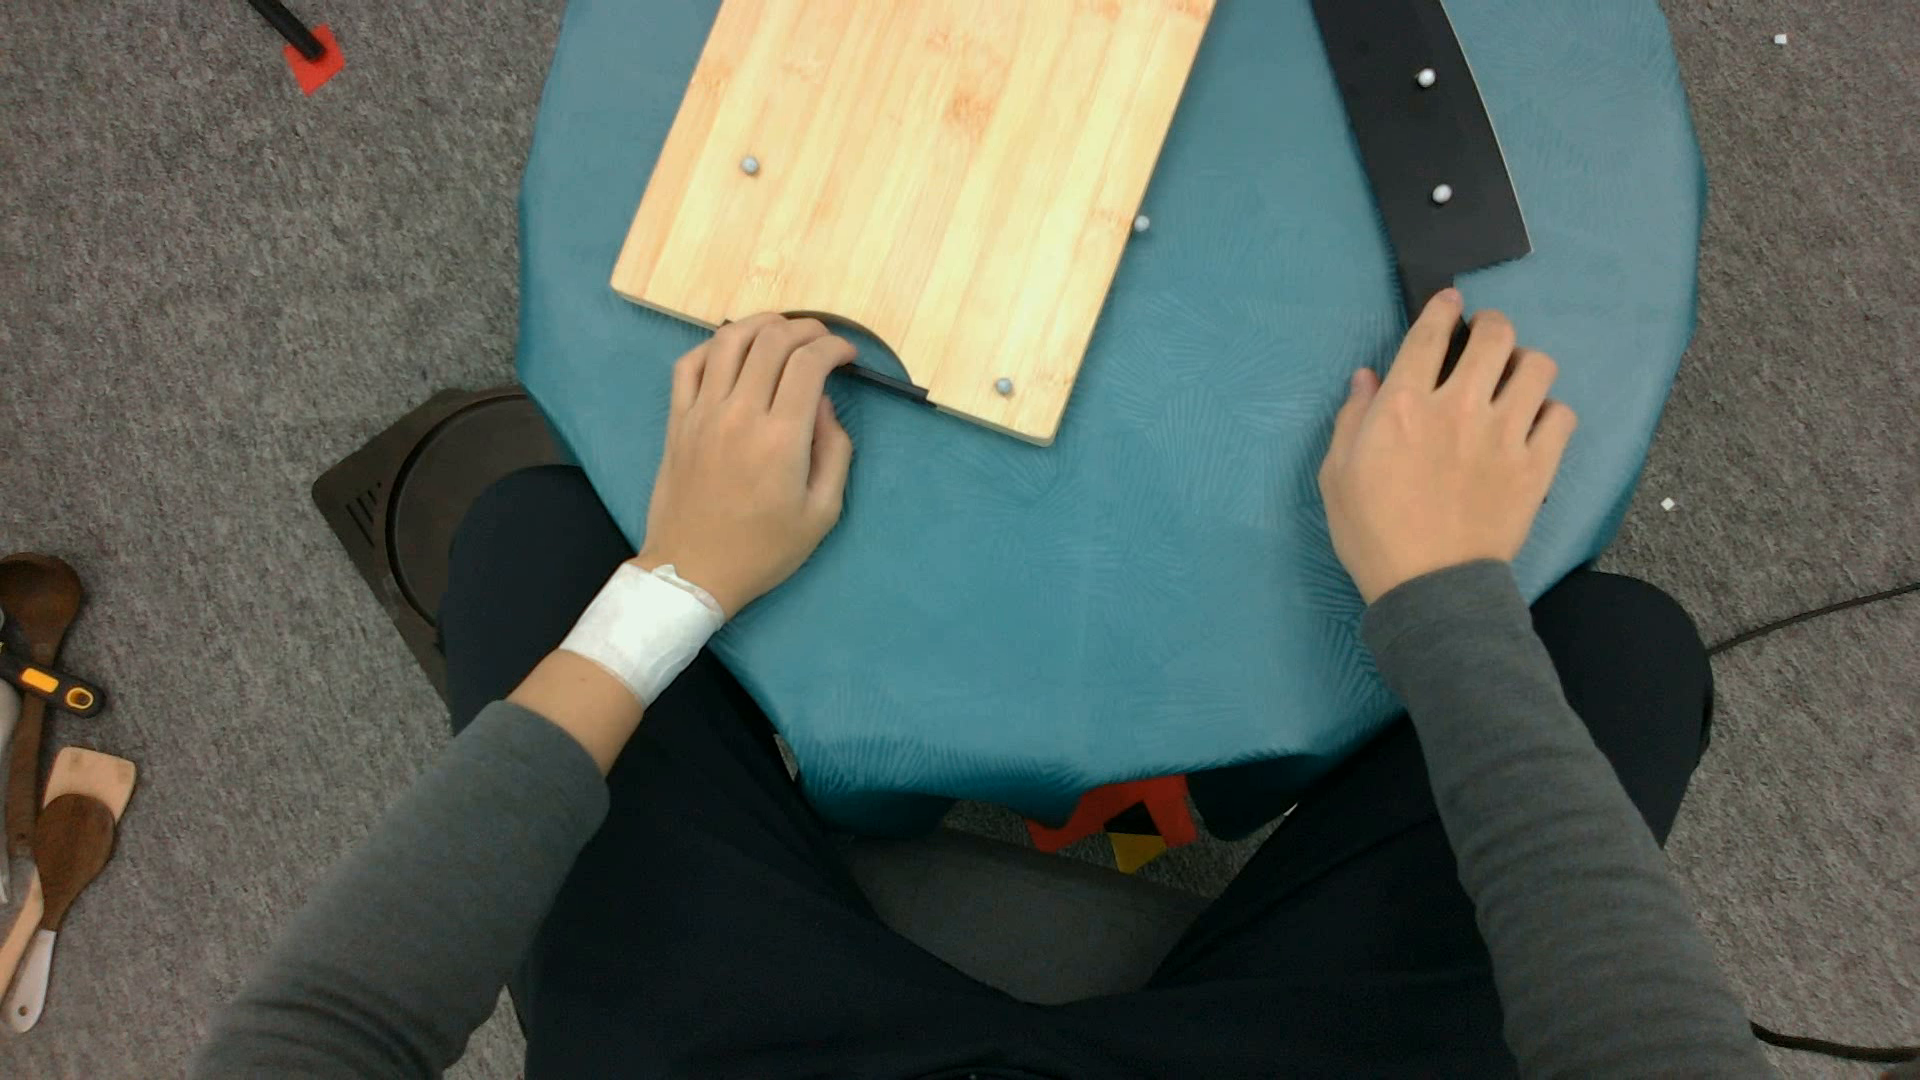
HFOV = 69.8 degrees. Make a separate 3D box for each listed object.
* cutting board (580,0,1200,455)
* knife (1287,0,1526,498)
[{"bbox_3d":[-0.019,-0.243,0.714,0.250,0.023,0.349,19,83,6],"label":"cutting board"},{"bbox_3d":[0.230,-0.165,0.689,0.081,0.021,0.303,-11,79,1],"label":"knife"}]
